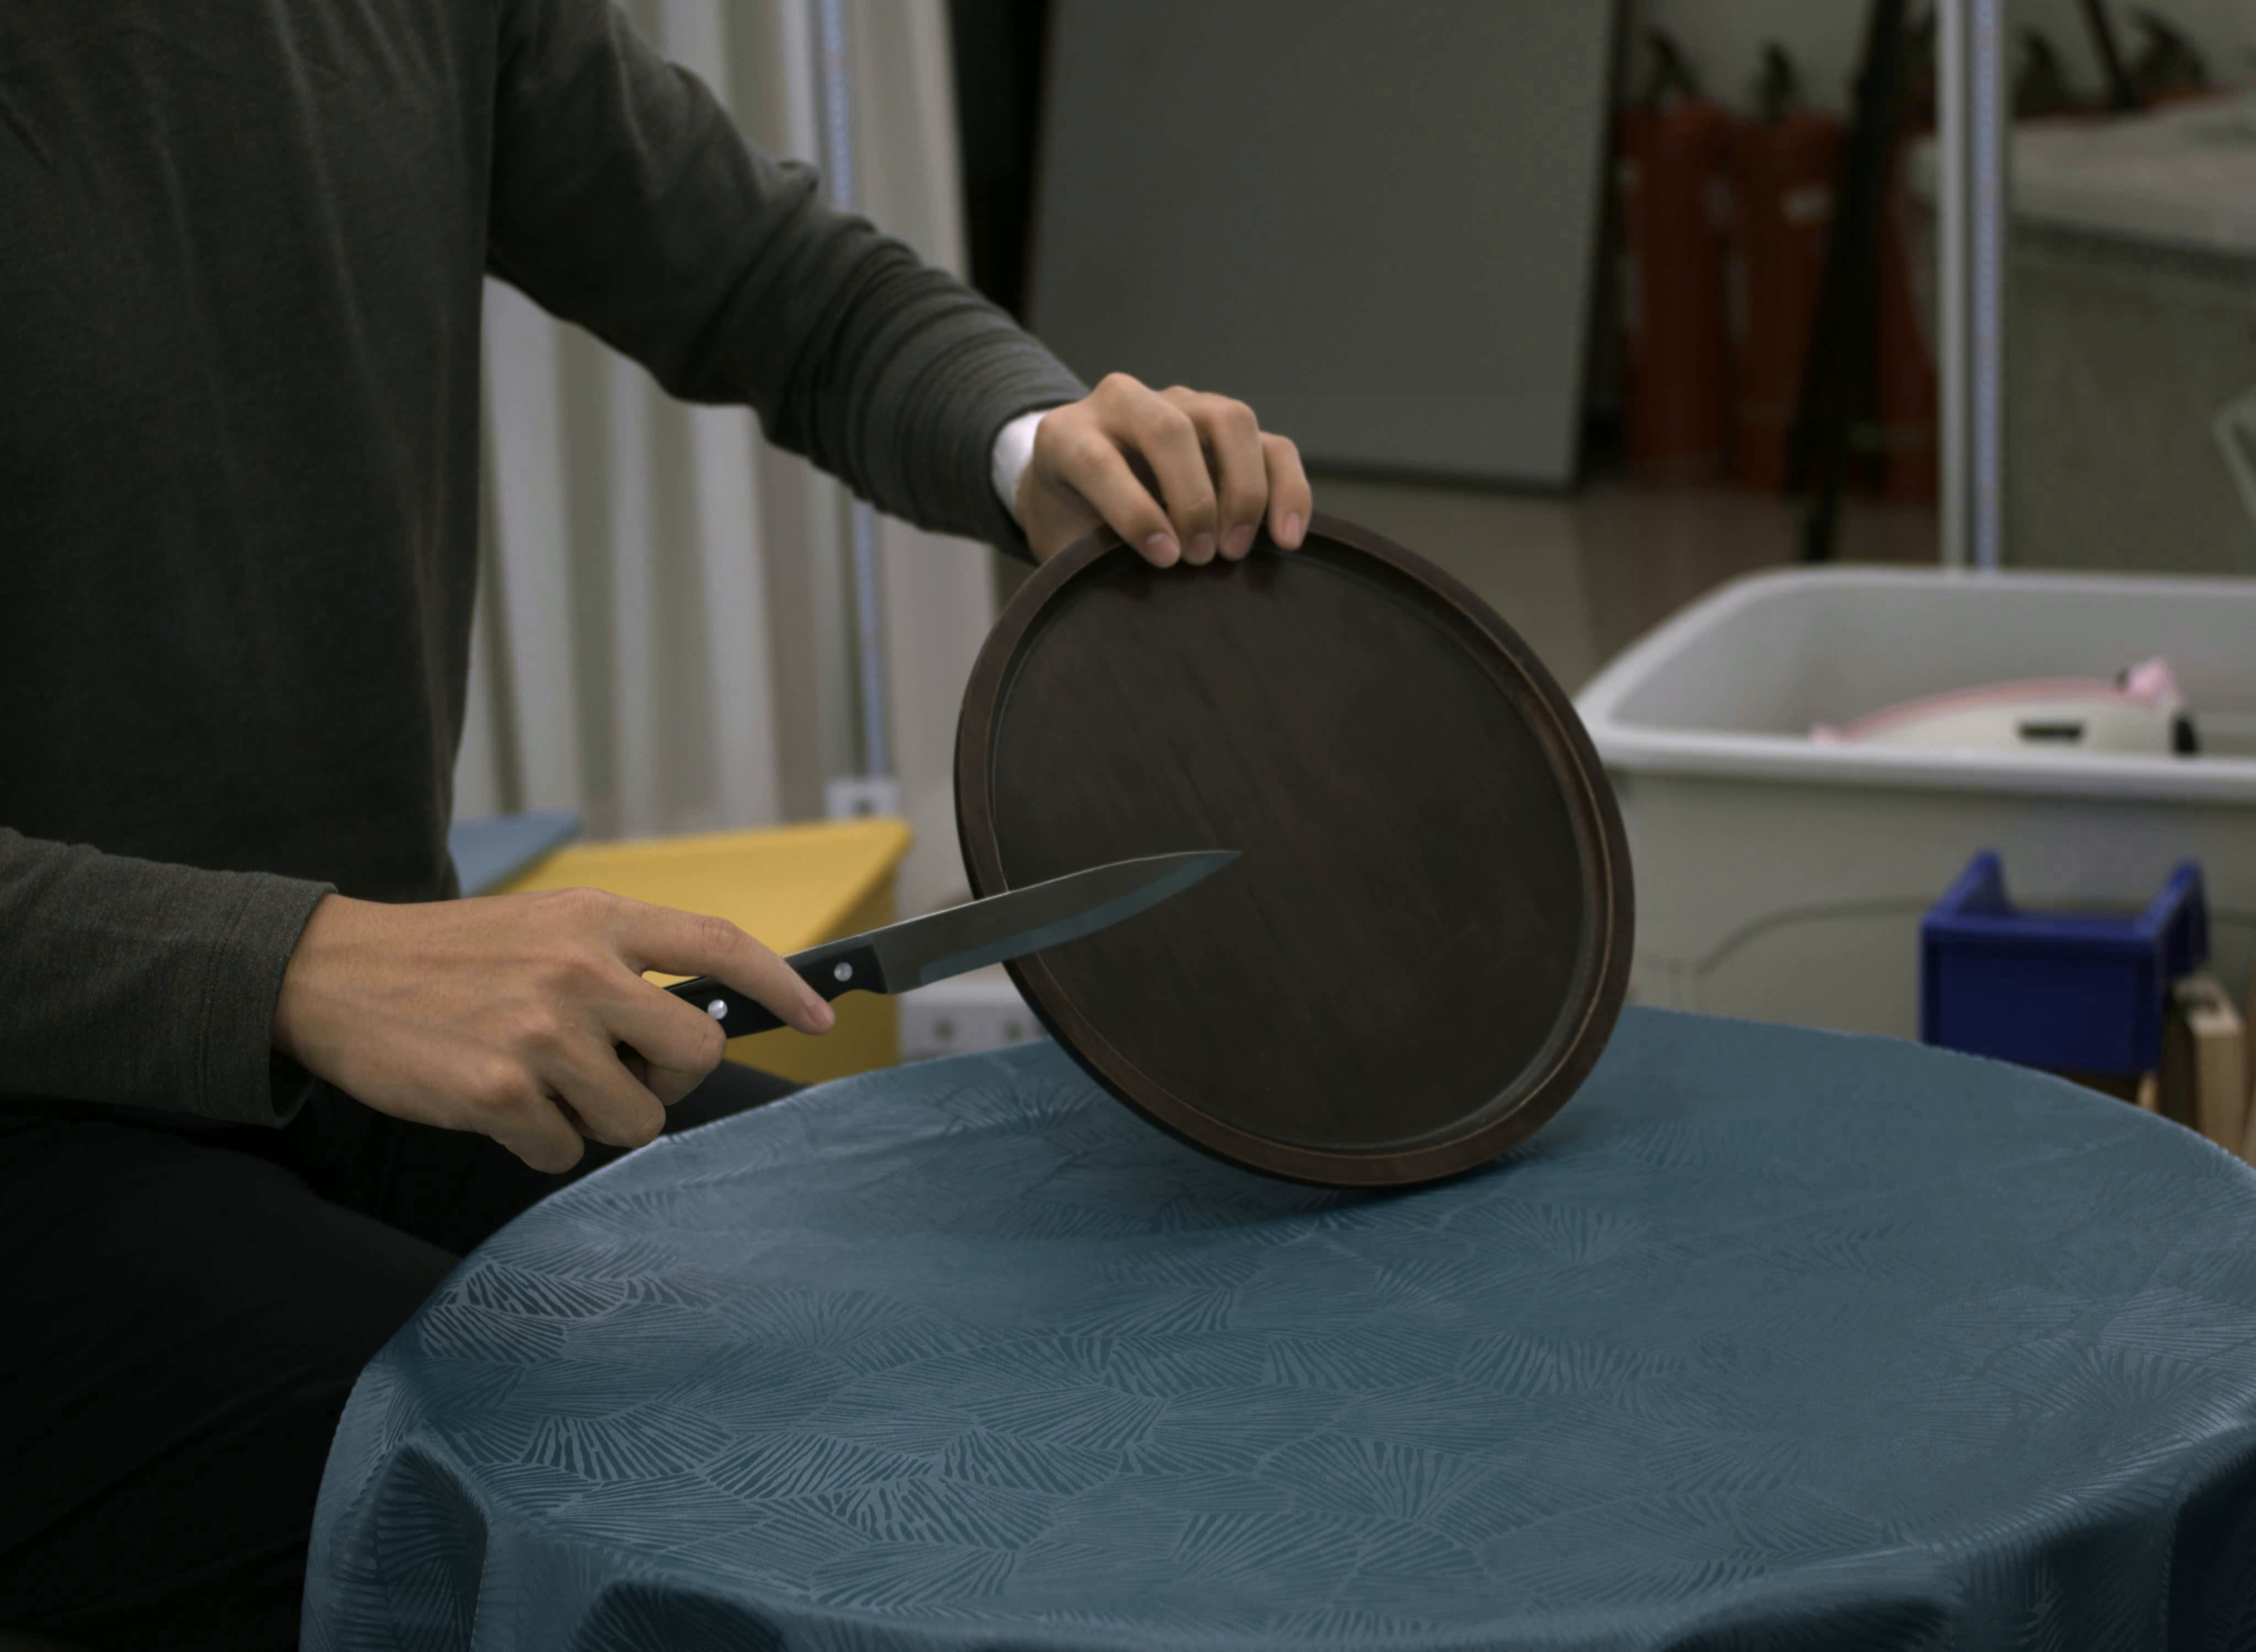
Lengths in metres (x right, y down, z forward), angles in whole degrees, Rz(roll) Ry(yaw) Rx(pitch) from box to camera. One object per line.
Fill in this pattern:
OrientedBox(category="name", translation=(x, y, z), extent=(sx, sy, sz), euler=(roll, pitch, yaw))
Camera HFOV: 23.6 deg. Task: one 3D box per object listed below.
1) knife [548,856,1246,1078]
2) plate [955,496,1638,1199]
OrientedBox(category="knife", translation=(-0.071, 0.038, 1.690), extent=(0.234, 0.025, 0.016), euler=(-15, 9, -17))
OrientedBox(category="plate", translation=(0.056, 0.007, 1.797), extent=(0.249, 0.258, 0.029), euler=(-12, -19, -31))
